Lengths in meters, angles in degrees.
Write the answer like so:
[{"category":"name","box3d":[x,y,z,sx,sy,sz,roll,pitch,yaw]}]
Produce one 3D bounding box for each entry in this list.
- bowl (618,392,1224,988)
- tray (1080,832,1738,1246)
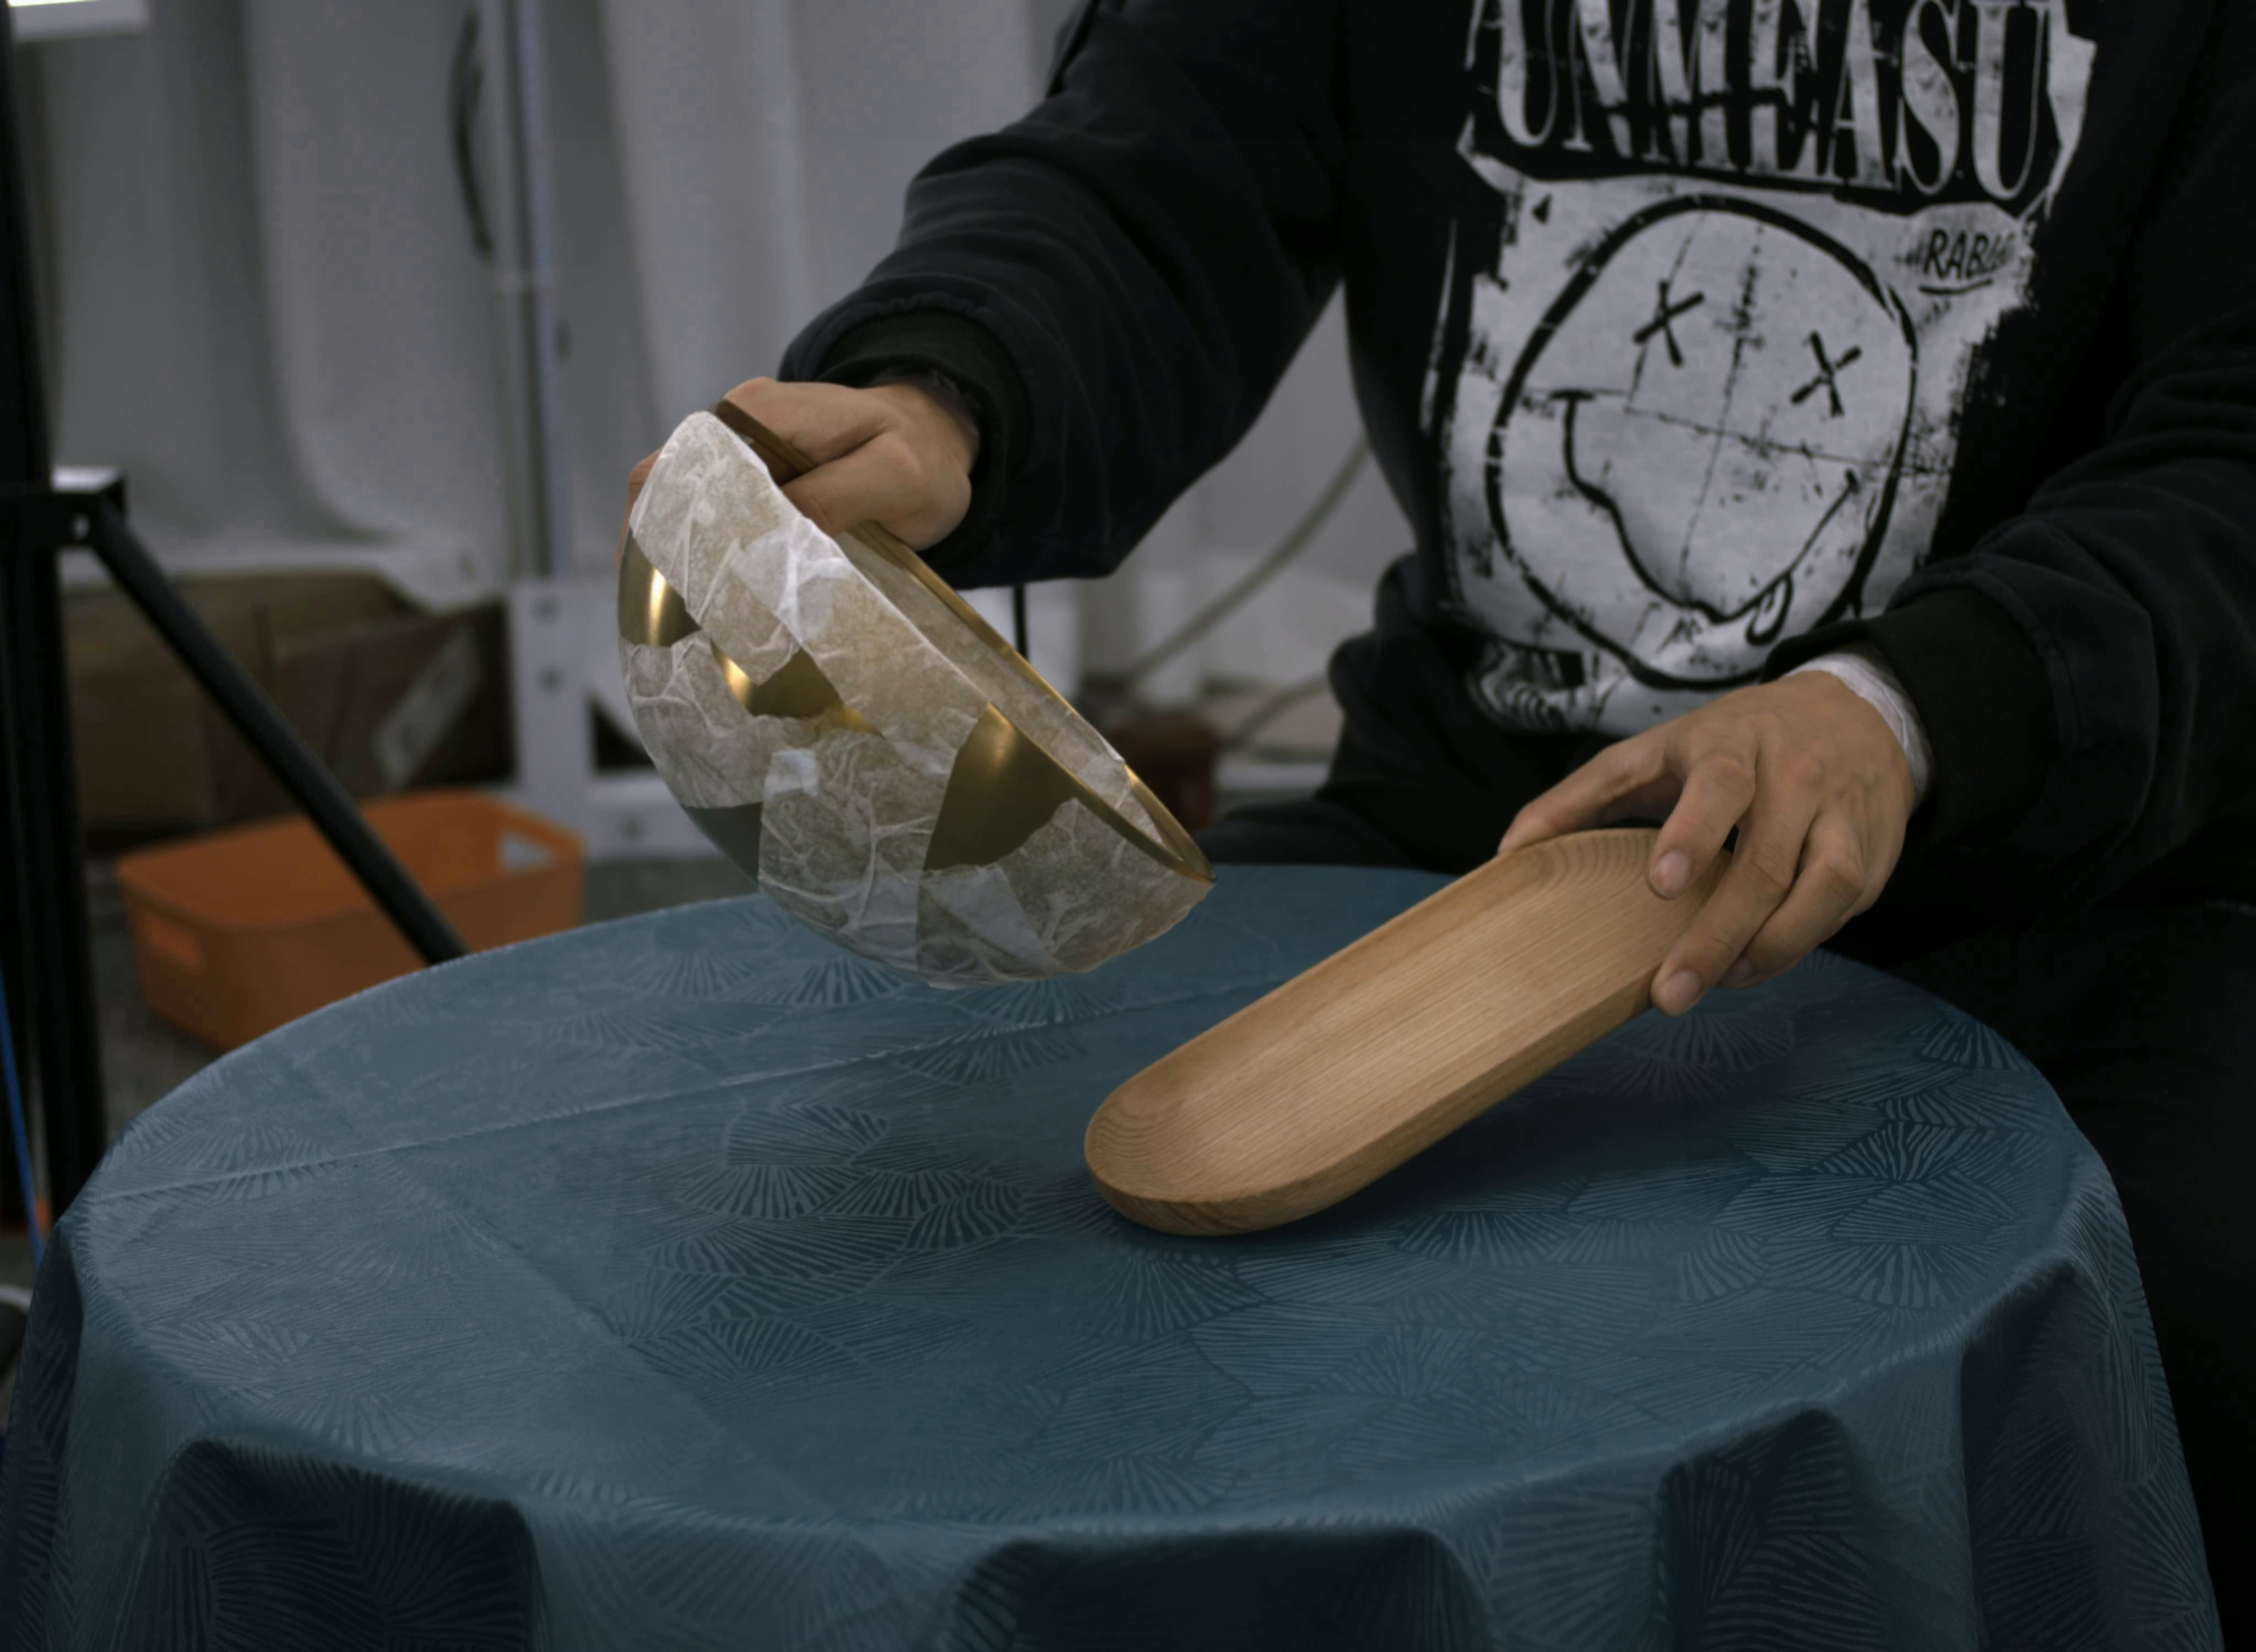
[{"category":"bowl","box3d":[-0.073,-0.020,1.521,0.095,0.212,0.217,-47,18,4]},{"category":"tray","box3d":[0.086,0.062,1.574,0.228,0.020,0.104,-32,28,-27]}]
